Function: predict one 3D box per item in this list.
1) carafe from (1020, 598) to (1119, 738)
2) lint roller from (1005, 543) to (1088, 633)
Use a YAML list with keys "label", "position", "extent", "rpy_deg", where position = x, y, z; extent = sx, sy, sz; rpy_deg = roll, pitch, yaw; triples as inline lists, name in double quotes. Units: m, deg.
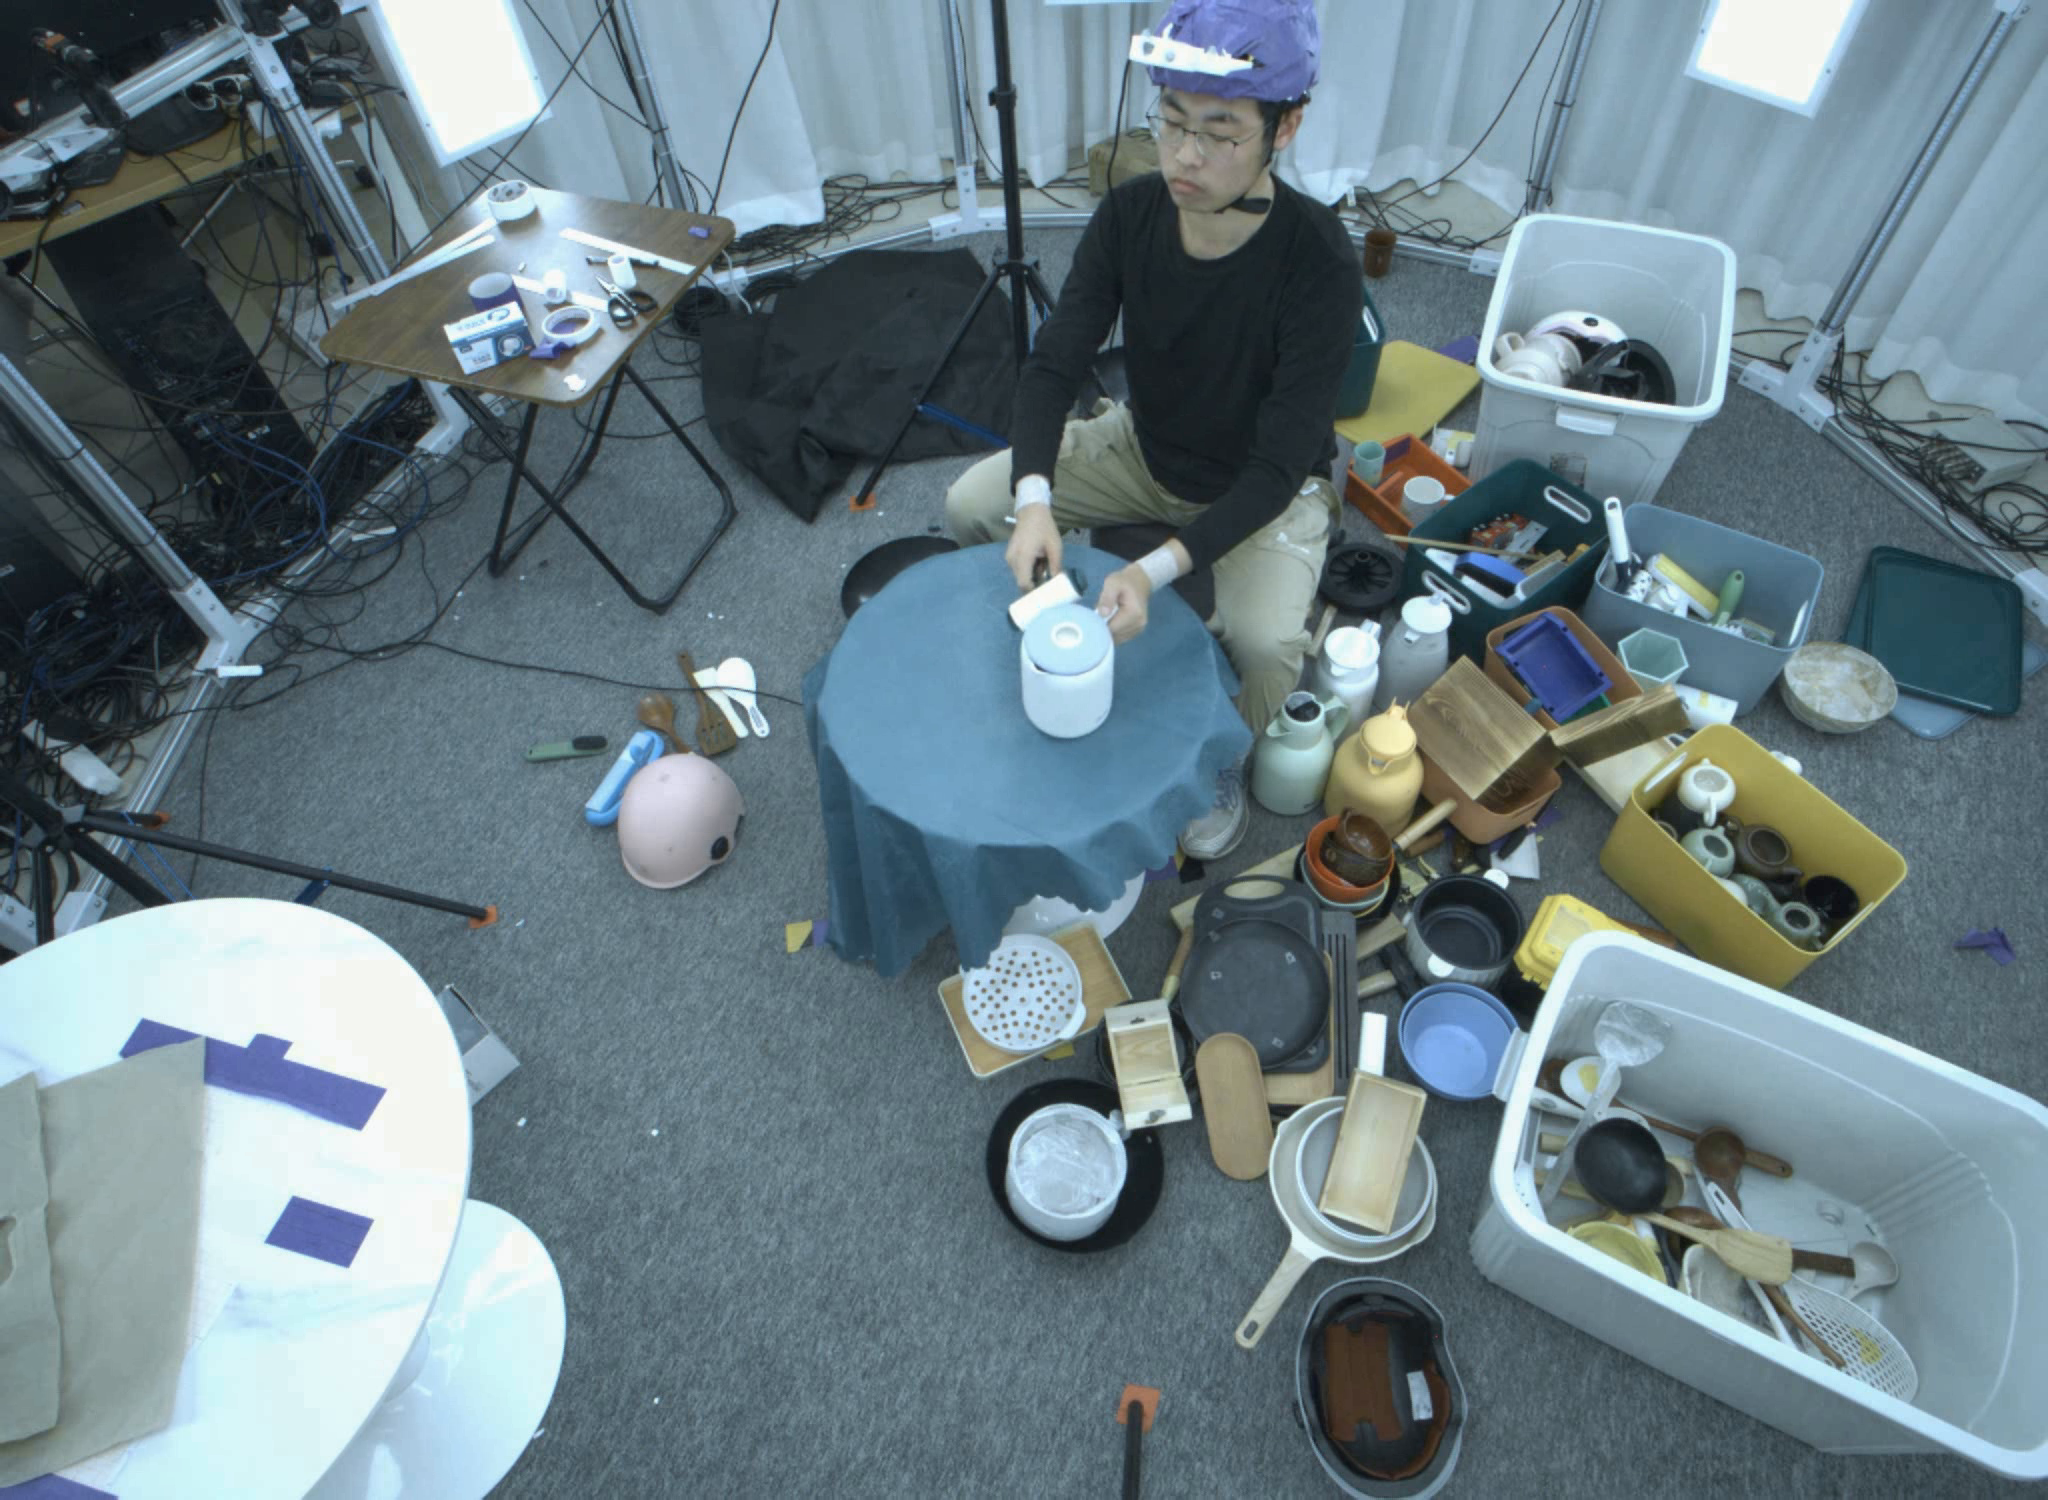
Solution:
- label: "carafe"
  position: [0.076, -0.129, 1.761]
  extent: [0.130, 0.184, 0.192]
  rpy_deg: [35, 65, 18]
- label: "lint roller"
  position: [0.022, -0.262, 1.813]
  extent: [0.133, 0.049, 0.177]
  rpy_deg: [-30, 46, 18]
